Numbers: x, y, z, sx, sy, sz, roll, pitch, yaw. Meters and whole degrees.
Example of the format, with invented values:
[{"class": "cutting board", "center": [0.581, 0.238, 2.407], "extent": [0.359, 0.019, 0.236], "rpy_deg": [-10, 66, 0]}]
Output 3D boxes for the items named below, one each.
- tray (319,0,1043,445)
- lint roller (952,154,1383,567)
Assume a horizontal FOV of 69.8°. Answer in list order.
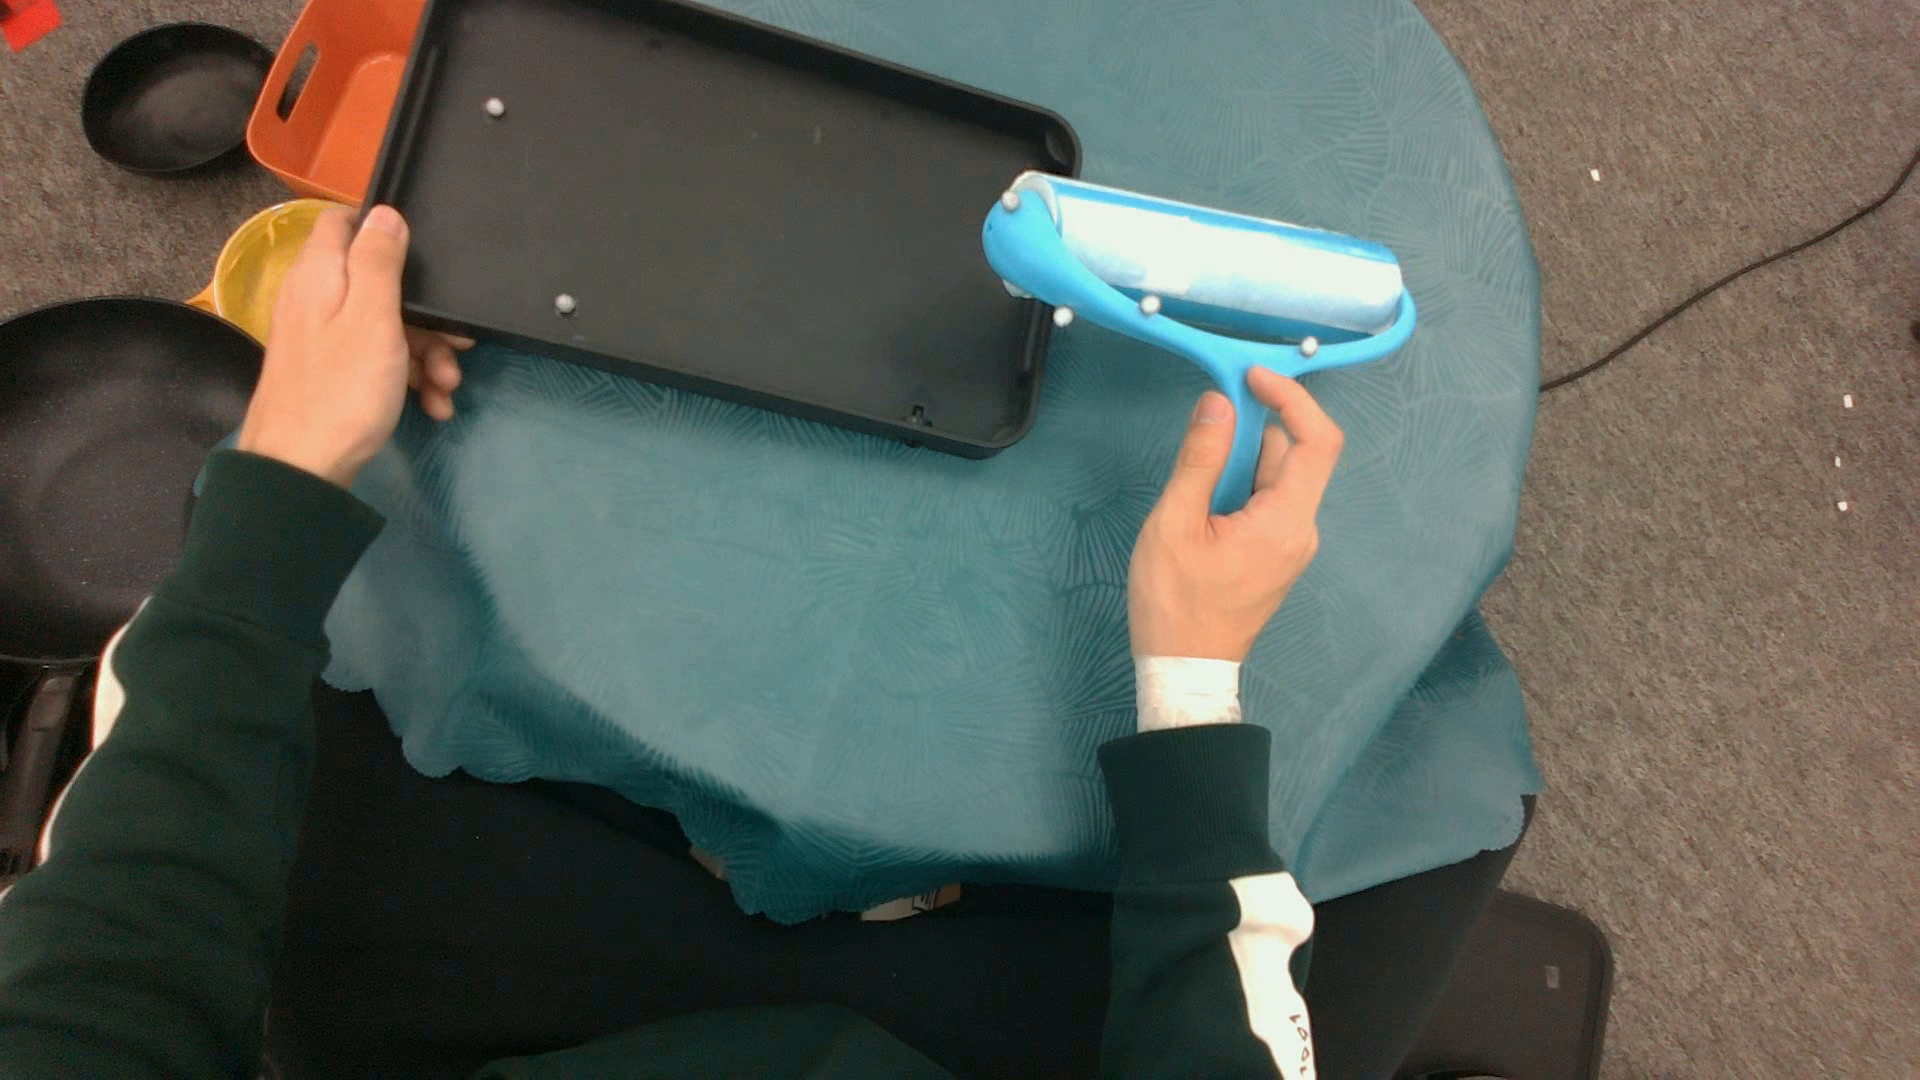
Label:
[{"class": "tray", "center": [-0.123, -0.159, 0.665], "extent": [0.318, 0.037, 0.184], "rpy_deg": [10, 79, -13]}, {"class": "lint roller", "center": [0.107, -0.081, 0.634], "extent": [0.229, 0.067, 0.180], "rpy_deg": [-1, 79, -30]}]
